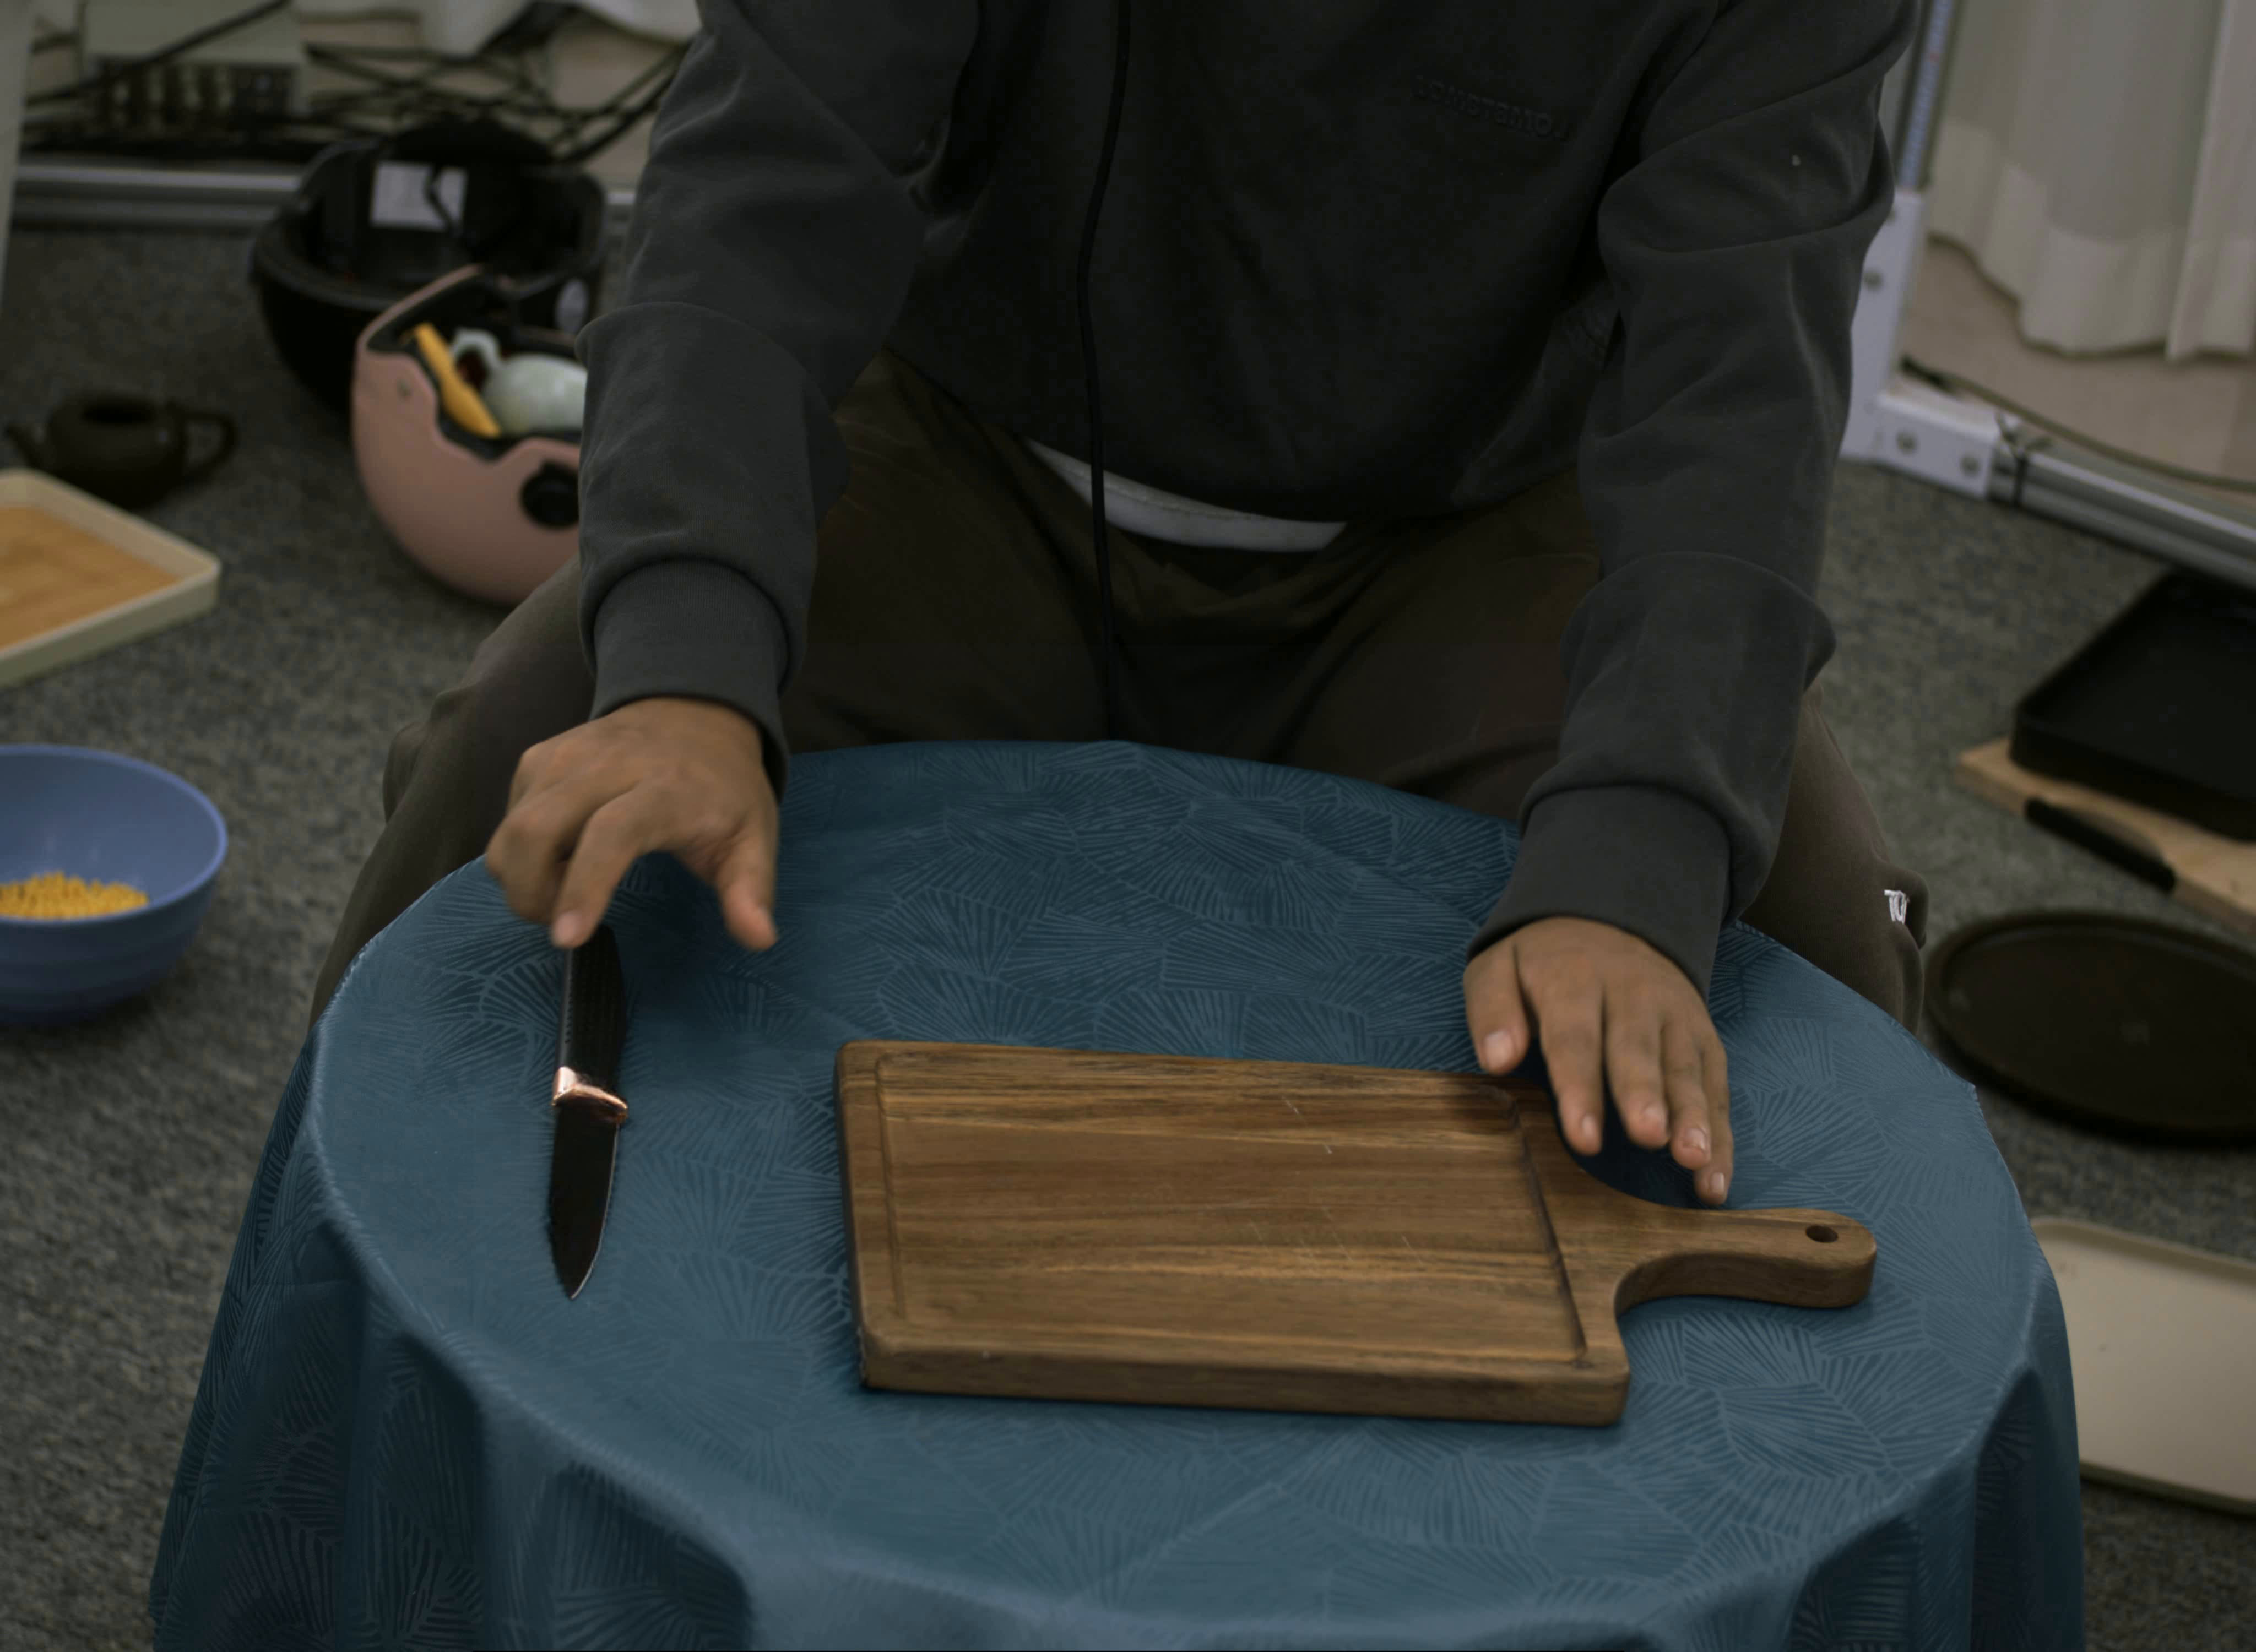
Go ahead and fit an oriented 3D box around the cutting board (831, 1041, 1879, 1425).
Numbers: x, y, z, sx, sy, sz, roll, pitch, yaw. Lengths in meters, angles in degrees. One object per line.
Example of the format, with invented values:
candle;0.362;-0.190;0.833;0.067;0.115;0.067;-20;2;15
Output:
cutting board;0.079;0.136;1.778;0.350;0.023;0.202;3;27;-7

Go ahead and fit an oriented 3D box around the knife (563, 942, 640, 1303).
knife;-0.179;0.098;1.802;0.026;0.017;0.227;9;27;-8
